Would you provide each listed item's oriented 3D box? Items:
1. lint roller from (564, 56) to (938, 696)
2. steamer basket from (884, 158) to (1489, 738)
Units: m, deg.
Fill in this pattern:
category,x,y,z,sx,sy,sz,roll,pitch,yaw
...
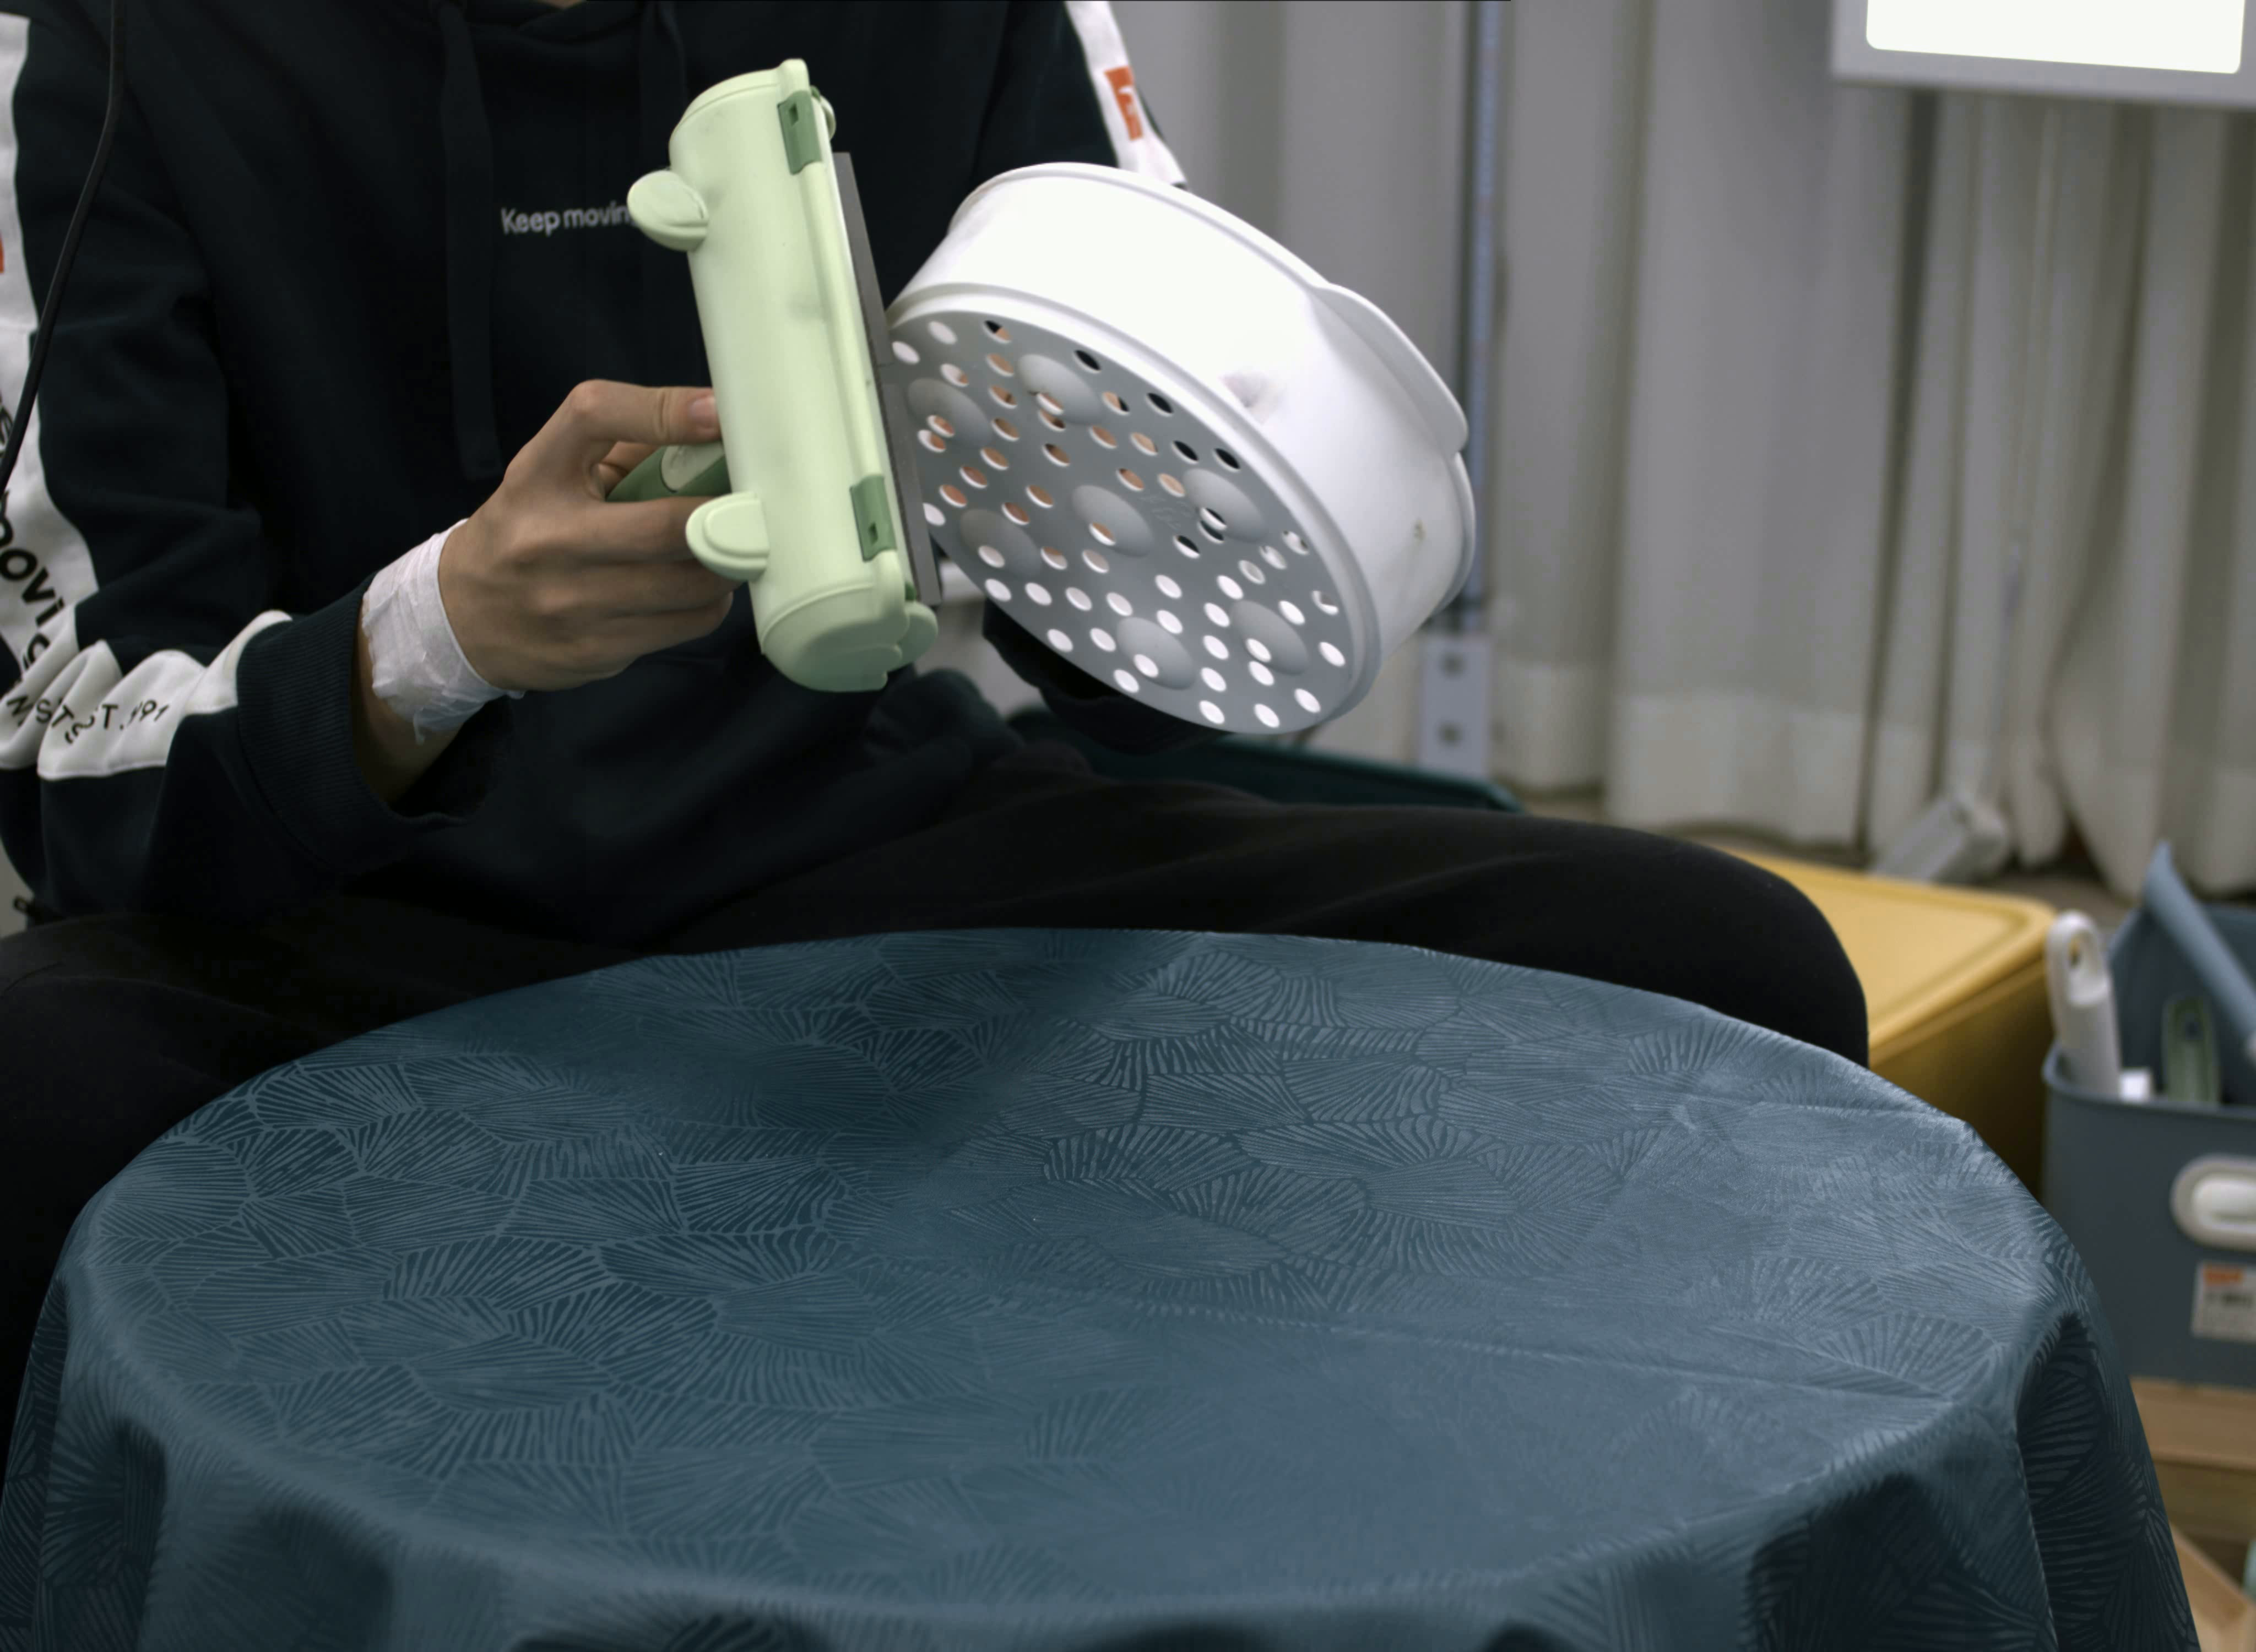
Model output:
category,x,y,z,sx,sy,sz,roll,pitch,yaw
lint roller,-0.142,-0.116,1.641,0.083,0.197,0.182,10,-31,-43
steamer basket,0.014,-0.114,1.656,0.228,0.204,0.069,-3,44,55
